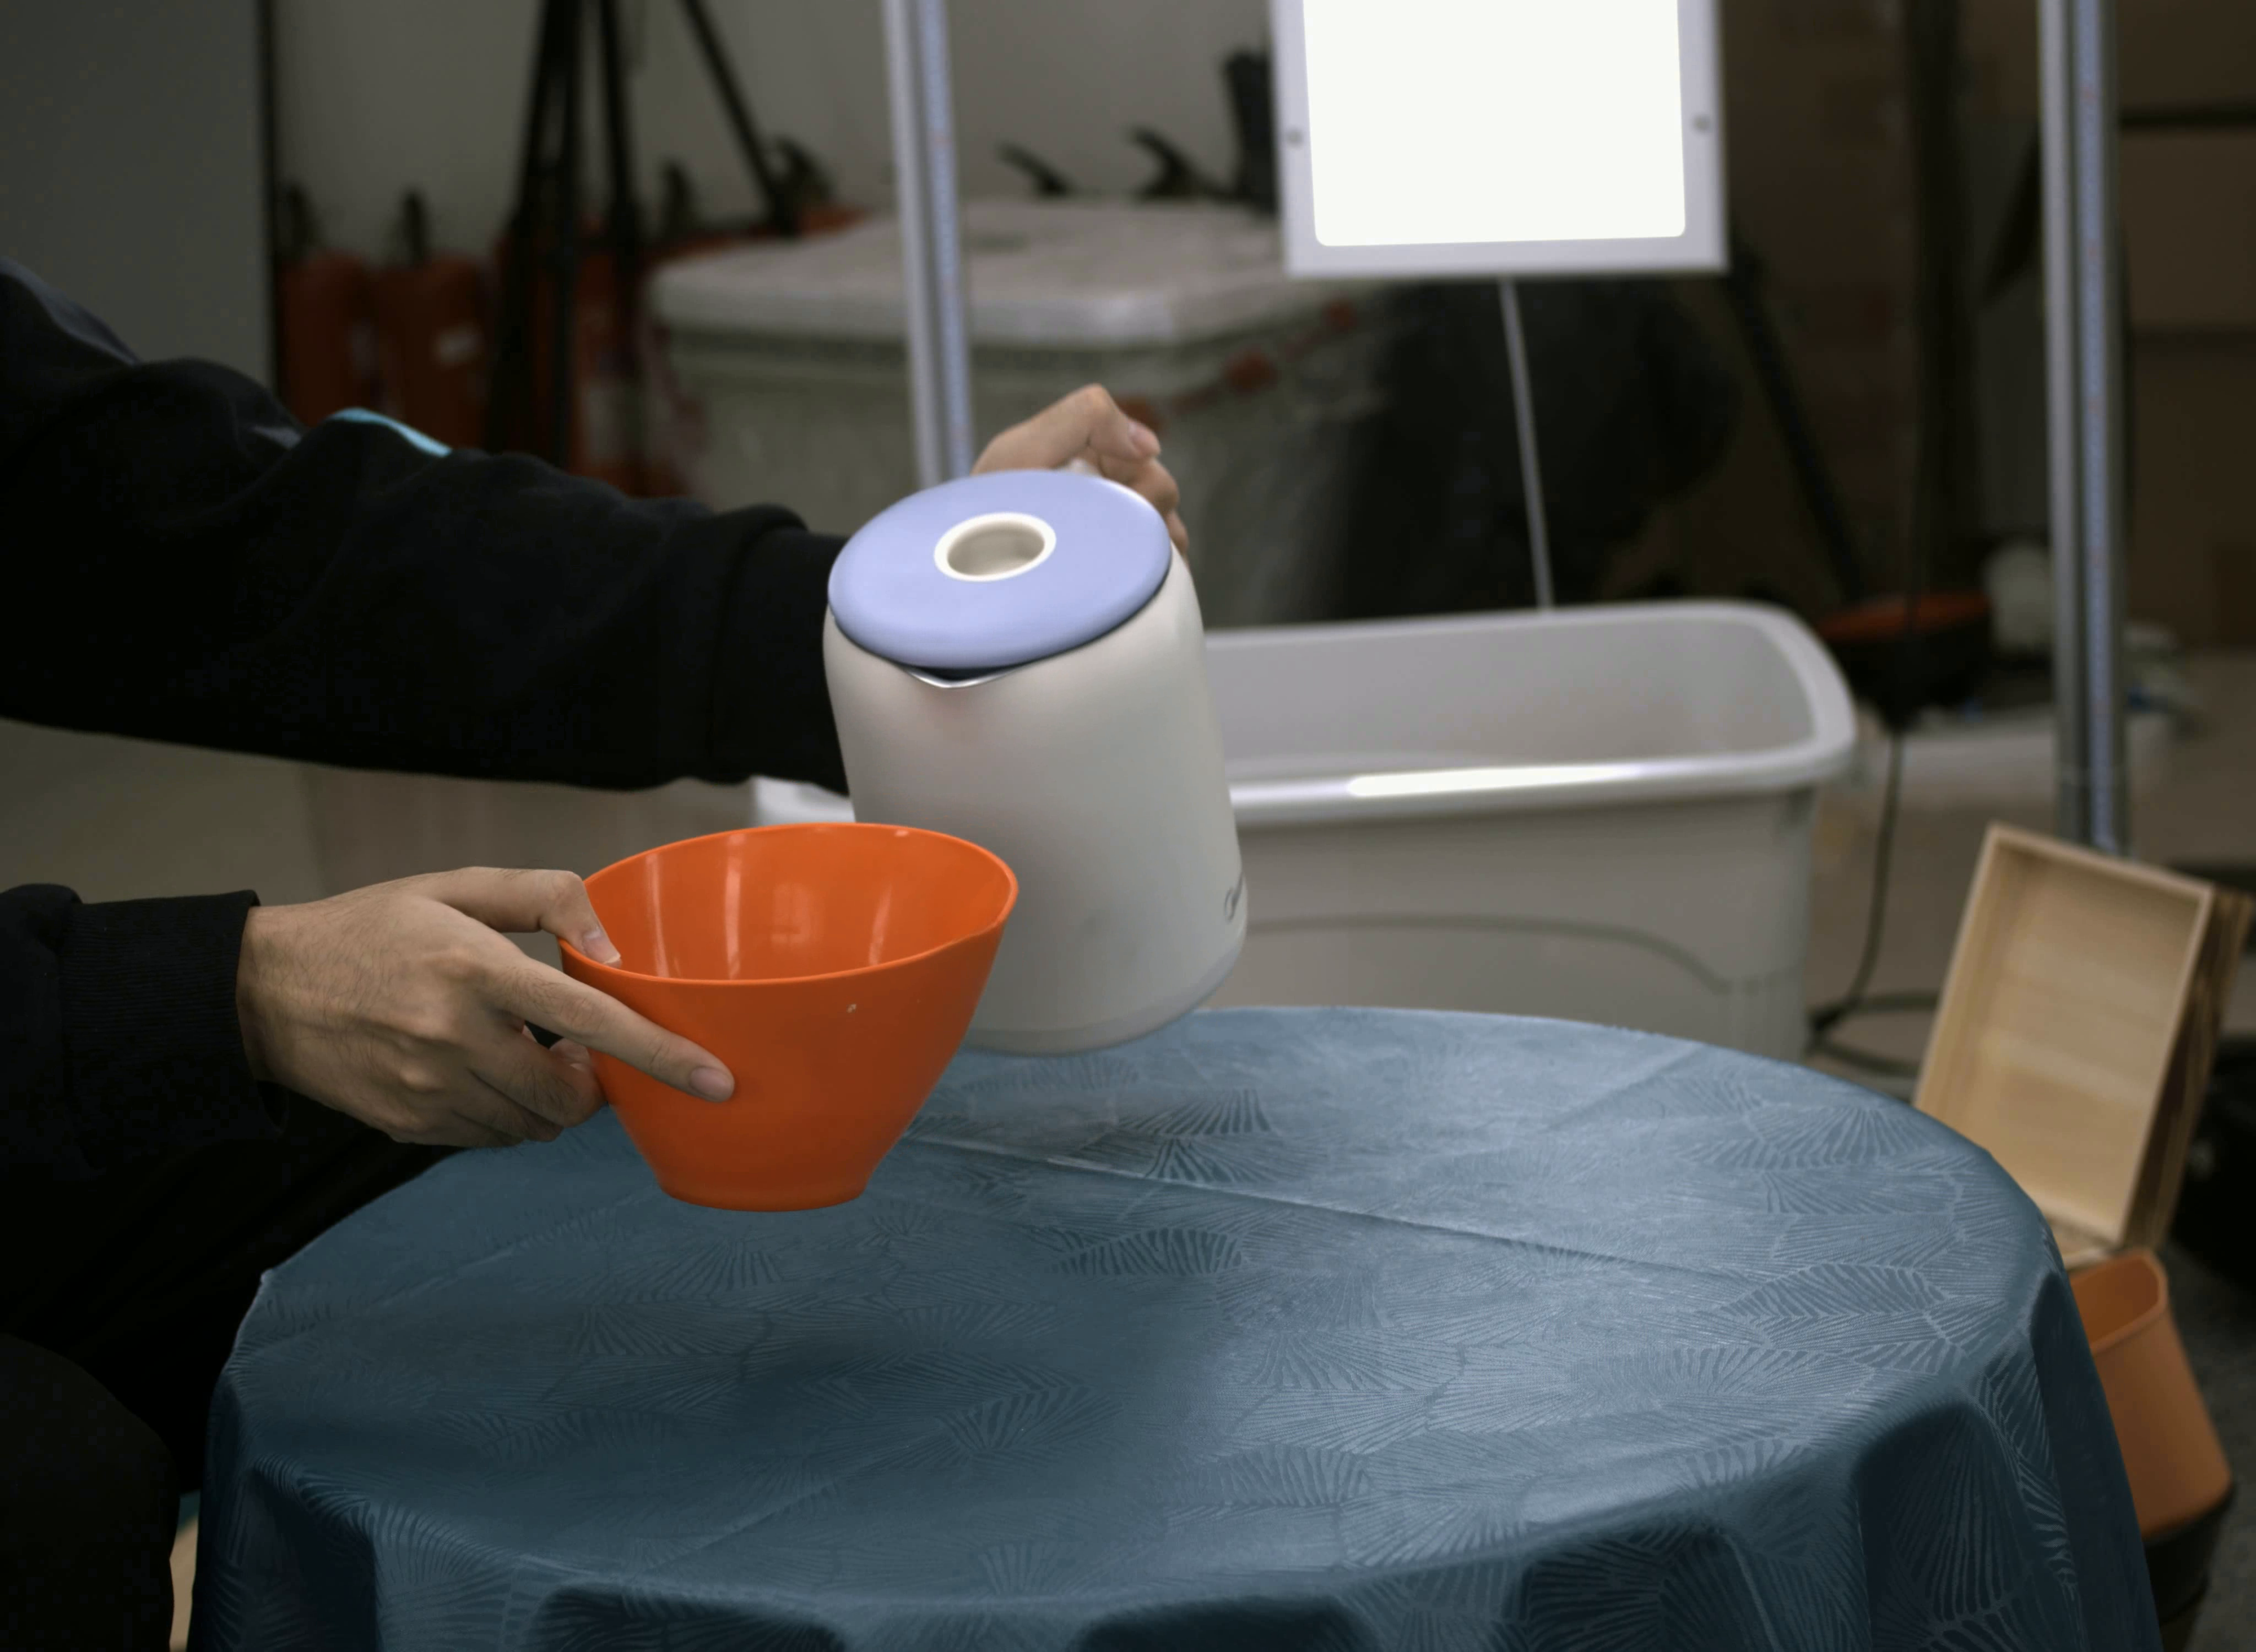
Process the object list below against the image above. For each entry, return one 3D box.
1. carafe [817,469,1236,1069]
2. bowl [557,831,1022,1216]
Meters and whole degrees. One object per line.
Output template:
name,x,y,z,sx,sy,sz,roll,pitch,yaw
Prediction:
carafe,-0.030,-0.032,1.929,0.133,0.183,0.189,0,33,14
bowl,-0.109,0.065,1.756,0.147,0.105,0.148,1,10,-2
